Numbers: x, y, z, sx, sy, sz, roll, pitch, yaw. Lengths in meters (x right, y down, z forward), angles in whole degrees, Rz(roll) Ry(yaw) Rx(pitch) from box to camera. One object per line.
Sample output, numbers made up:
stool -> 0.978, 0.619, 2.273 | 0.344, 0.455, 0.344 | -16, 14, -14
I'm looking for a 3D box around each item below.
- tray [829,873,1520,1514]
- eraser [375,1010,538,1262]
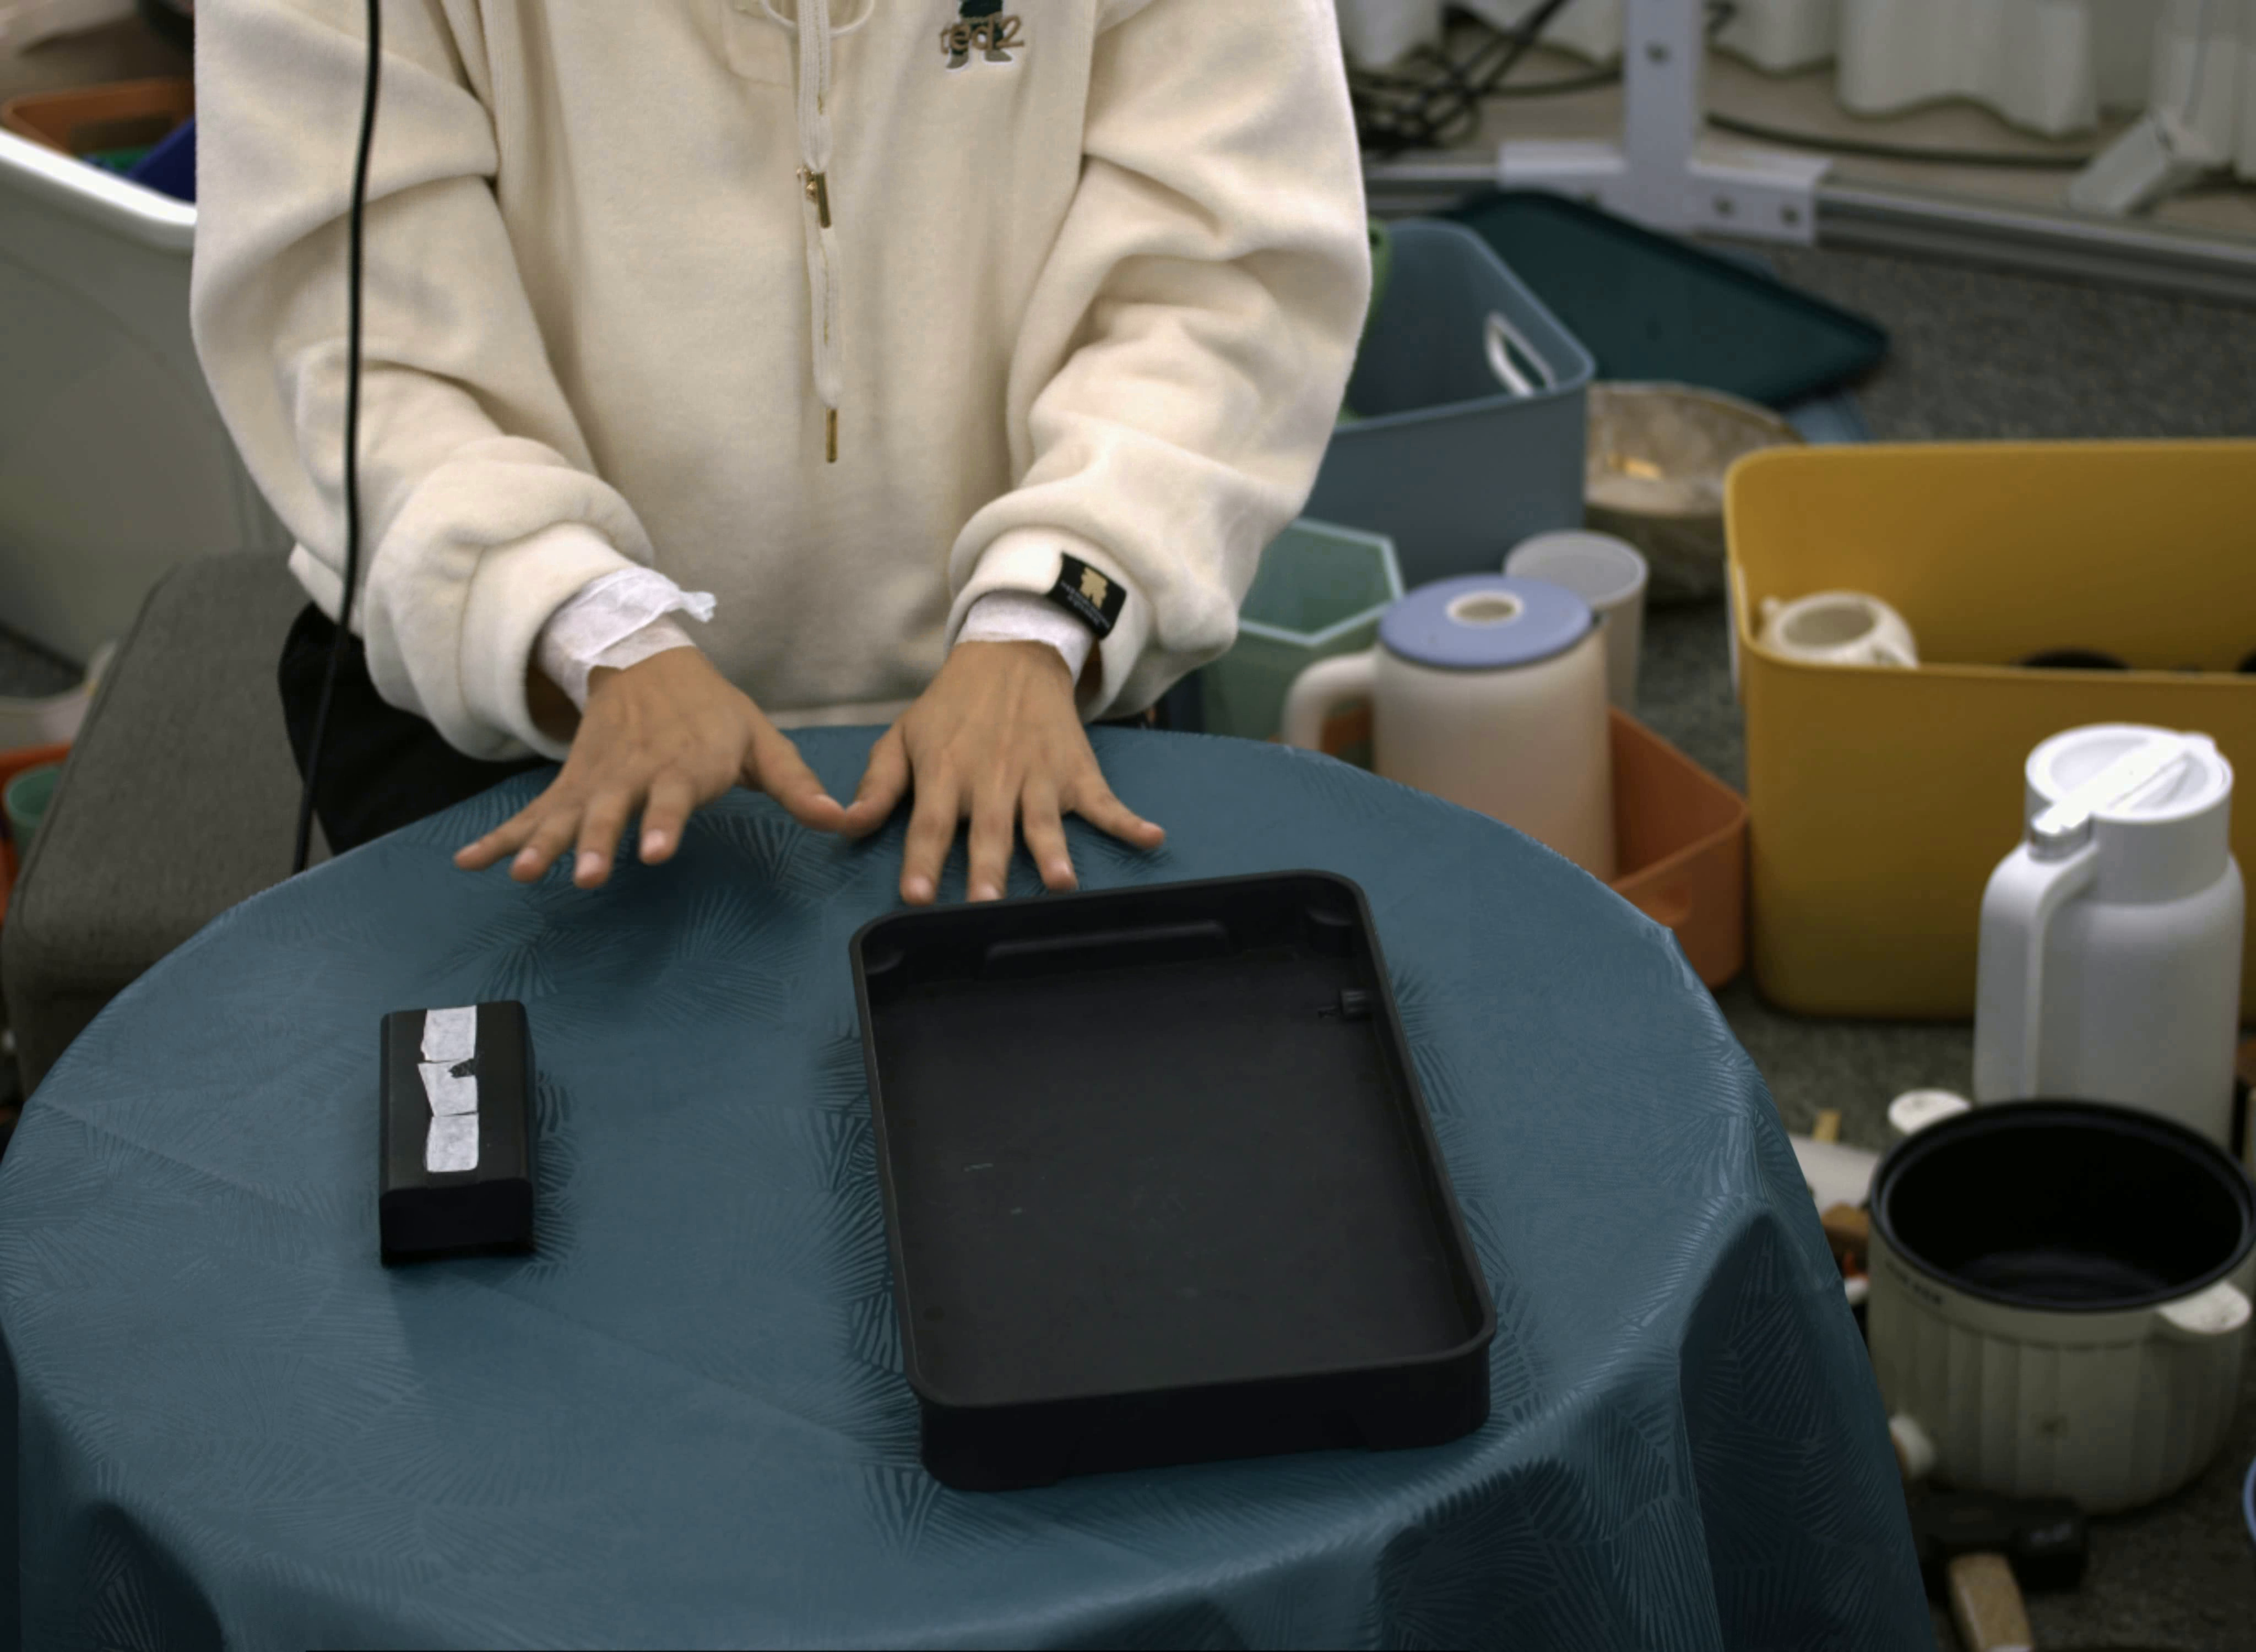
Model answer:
tray -> 0.009, 0.113, 1.835 | 0.184, 0.036, 0.322 | -6, 28, -7
eraser -> -0.226, 0.104, 1.888 | 0.053, 0.030, 0.127 | -2, 27, -7
